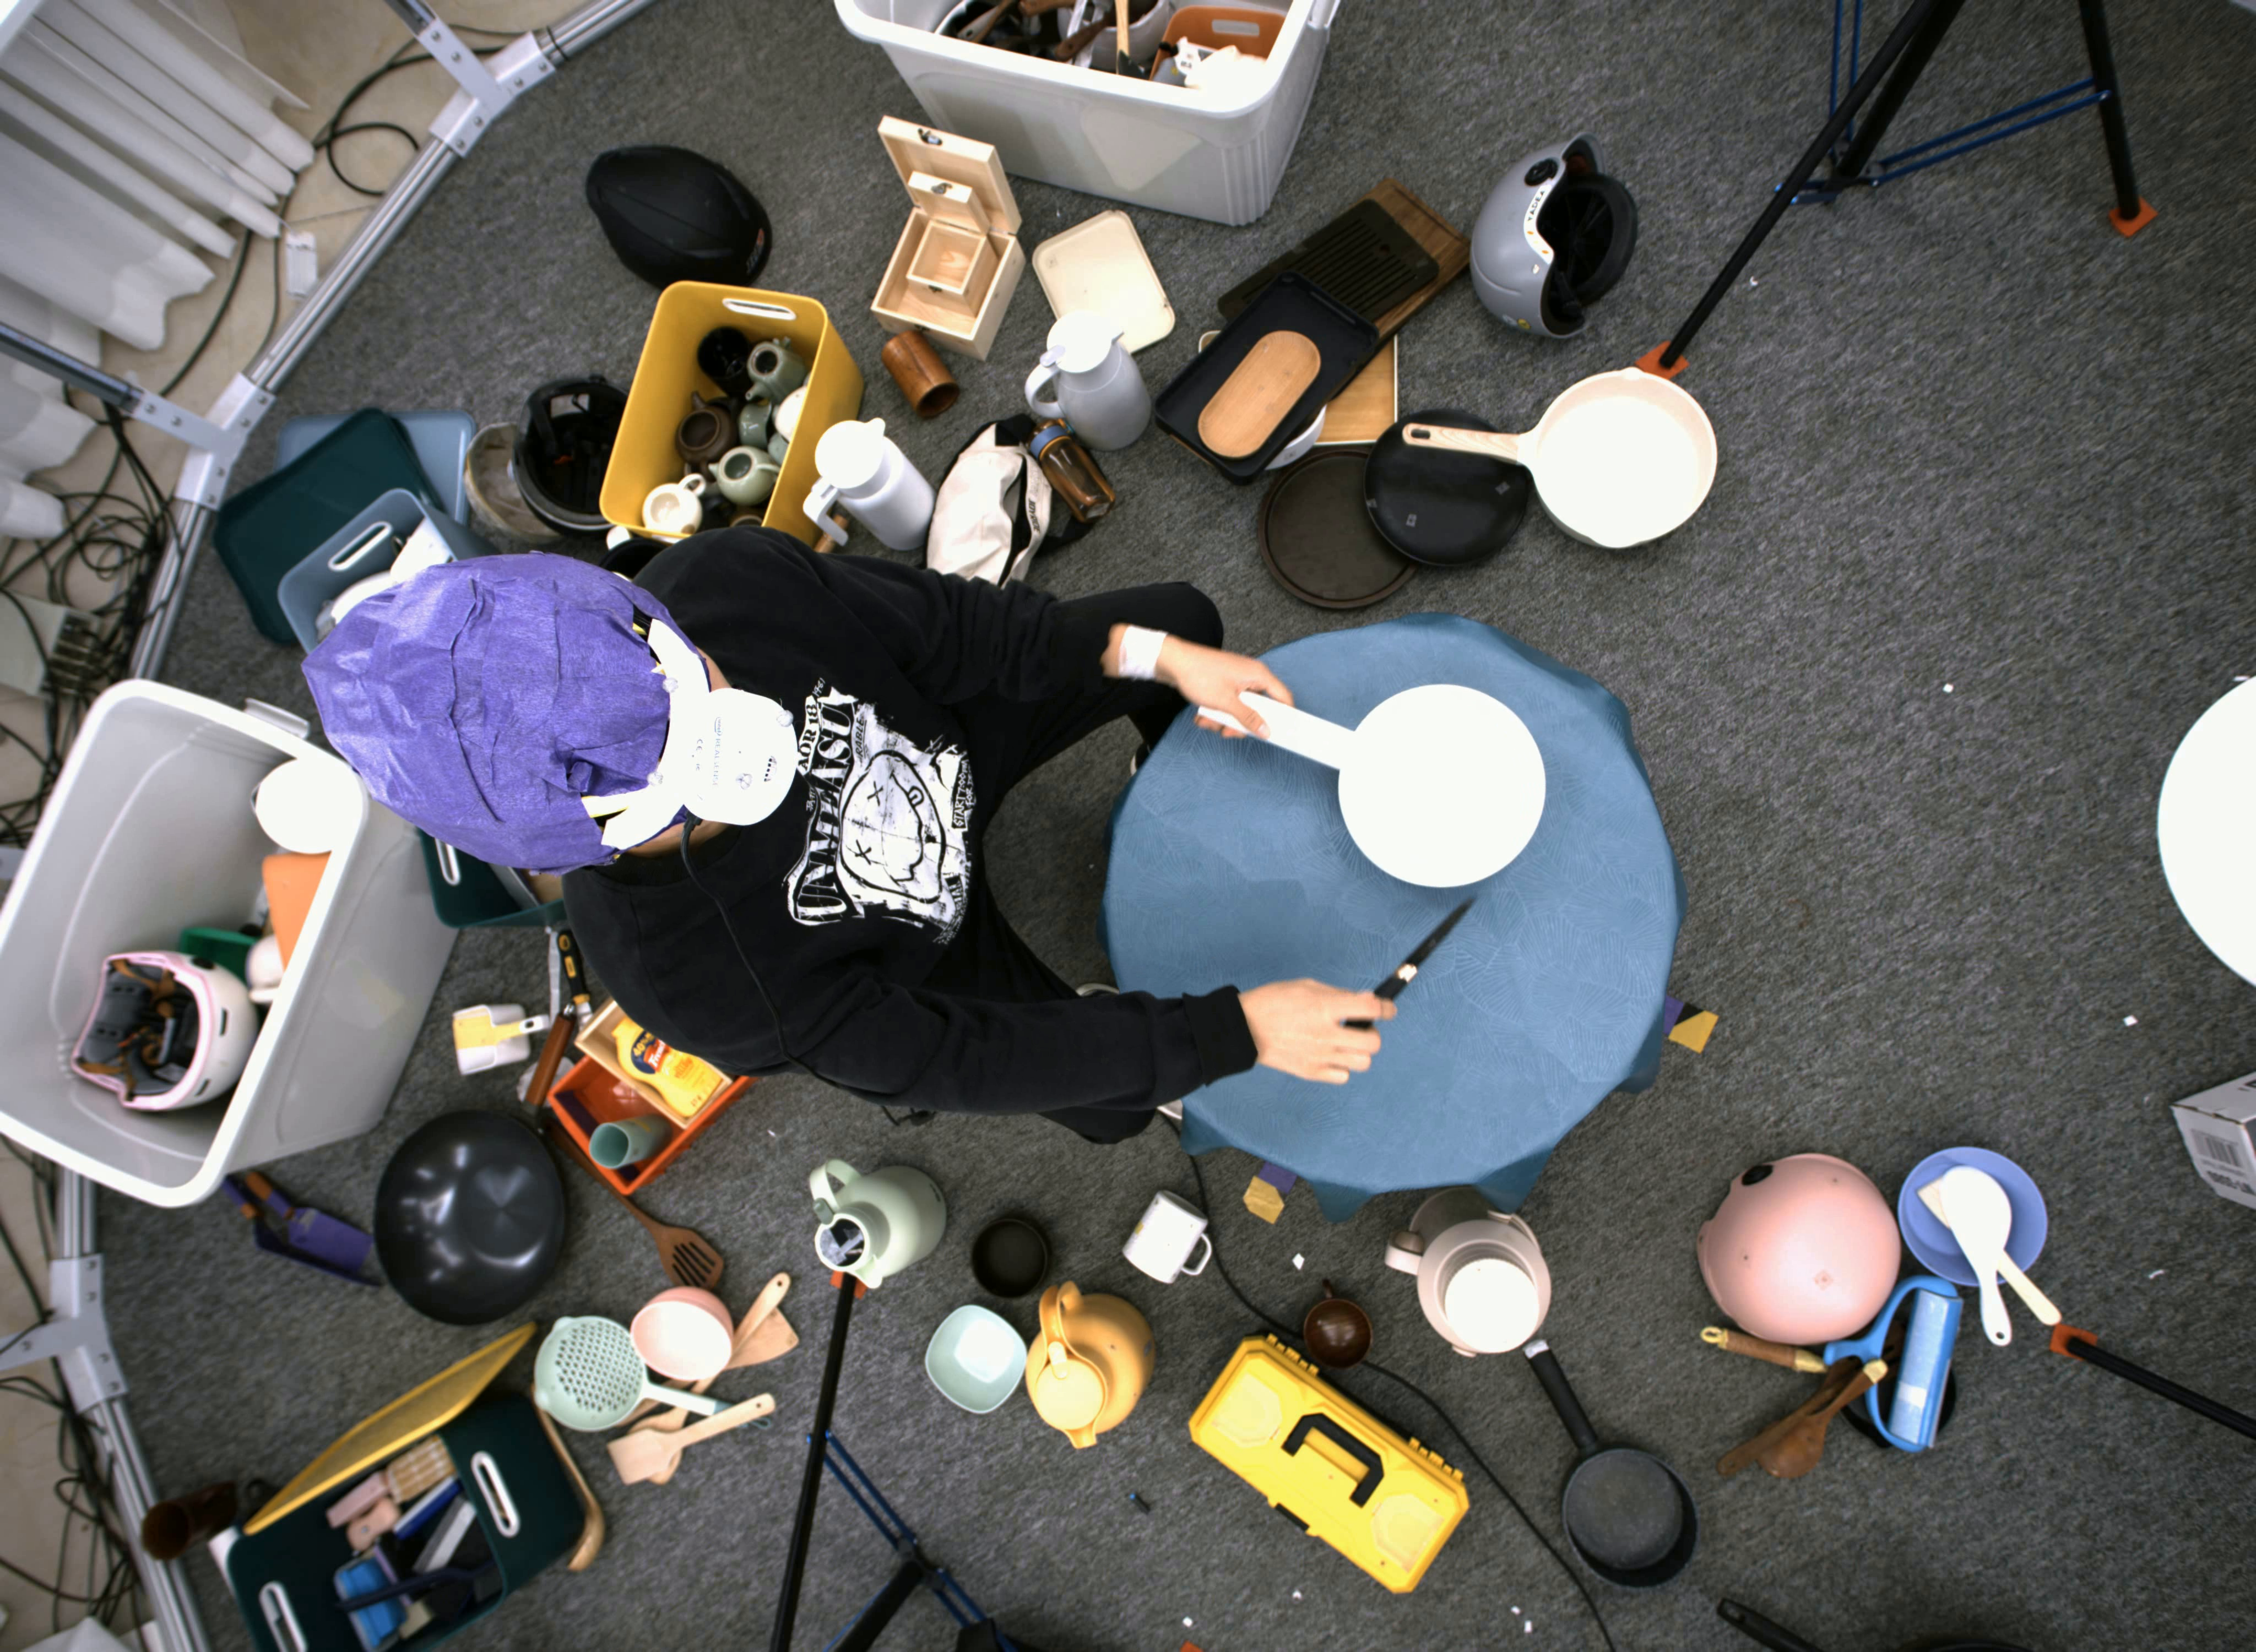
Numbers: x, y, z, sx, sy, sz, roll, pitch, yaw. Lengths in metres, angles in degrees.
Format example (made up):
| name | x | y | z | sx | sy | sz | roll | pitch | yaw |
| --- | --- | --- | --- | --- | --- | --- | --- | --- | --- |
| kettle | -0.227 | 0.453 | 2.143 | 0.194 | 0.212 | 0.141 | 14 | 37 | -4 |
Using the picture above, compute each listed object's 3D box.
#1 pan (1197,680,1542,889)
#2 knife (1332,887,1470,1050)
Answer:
| name | x | y | z | sx | sy | sz | roll | pitch | yaw |
| --- | --- | --- | --- | --- | --- | --- | --- | --- | --- |
| pan | 0.244 | -0.064 | 1.418 | 0.355 | 0.102 | 0.201 | 21 | 93 | 9 |
| knife | 0.264 | 0.129 | 1.307 | 0.222 | 0.026 | 0.017 | -44 | 105 | -22 |
